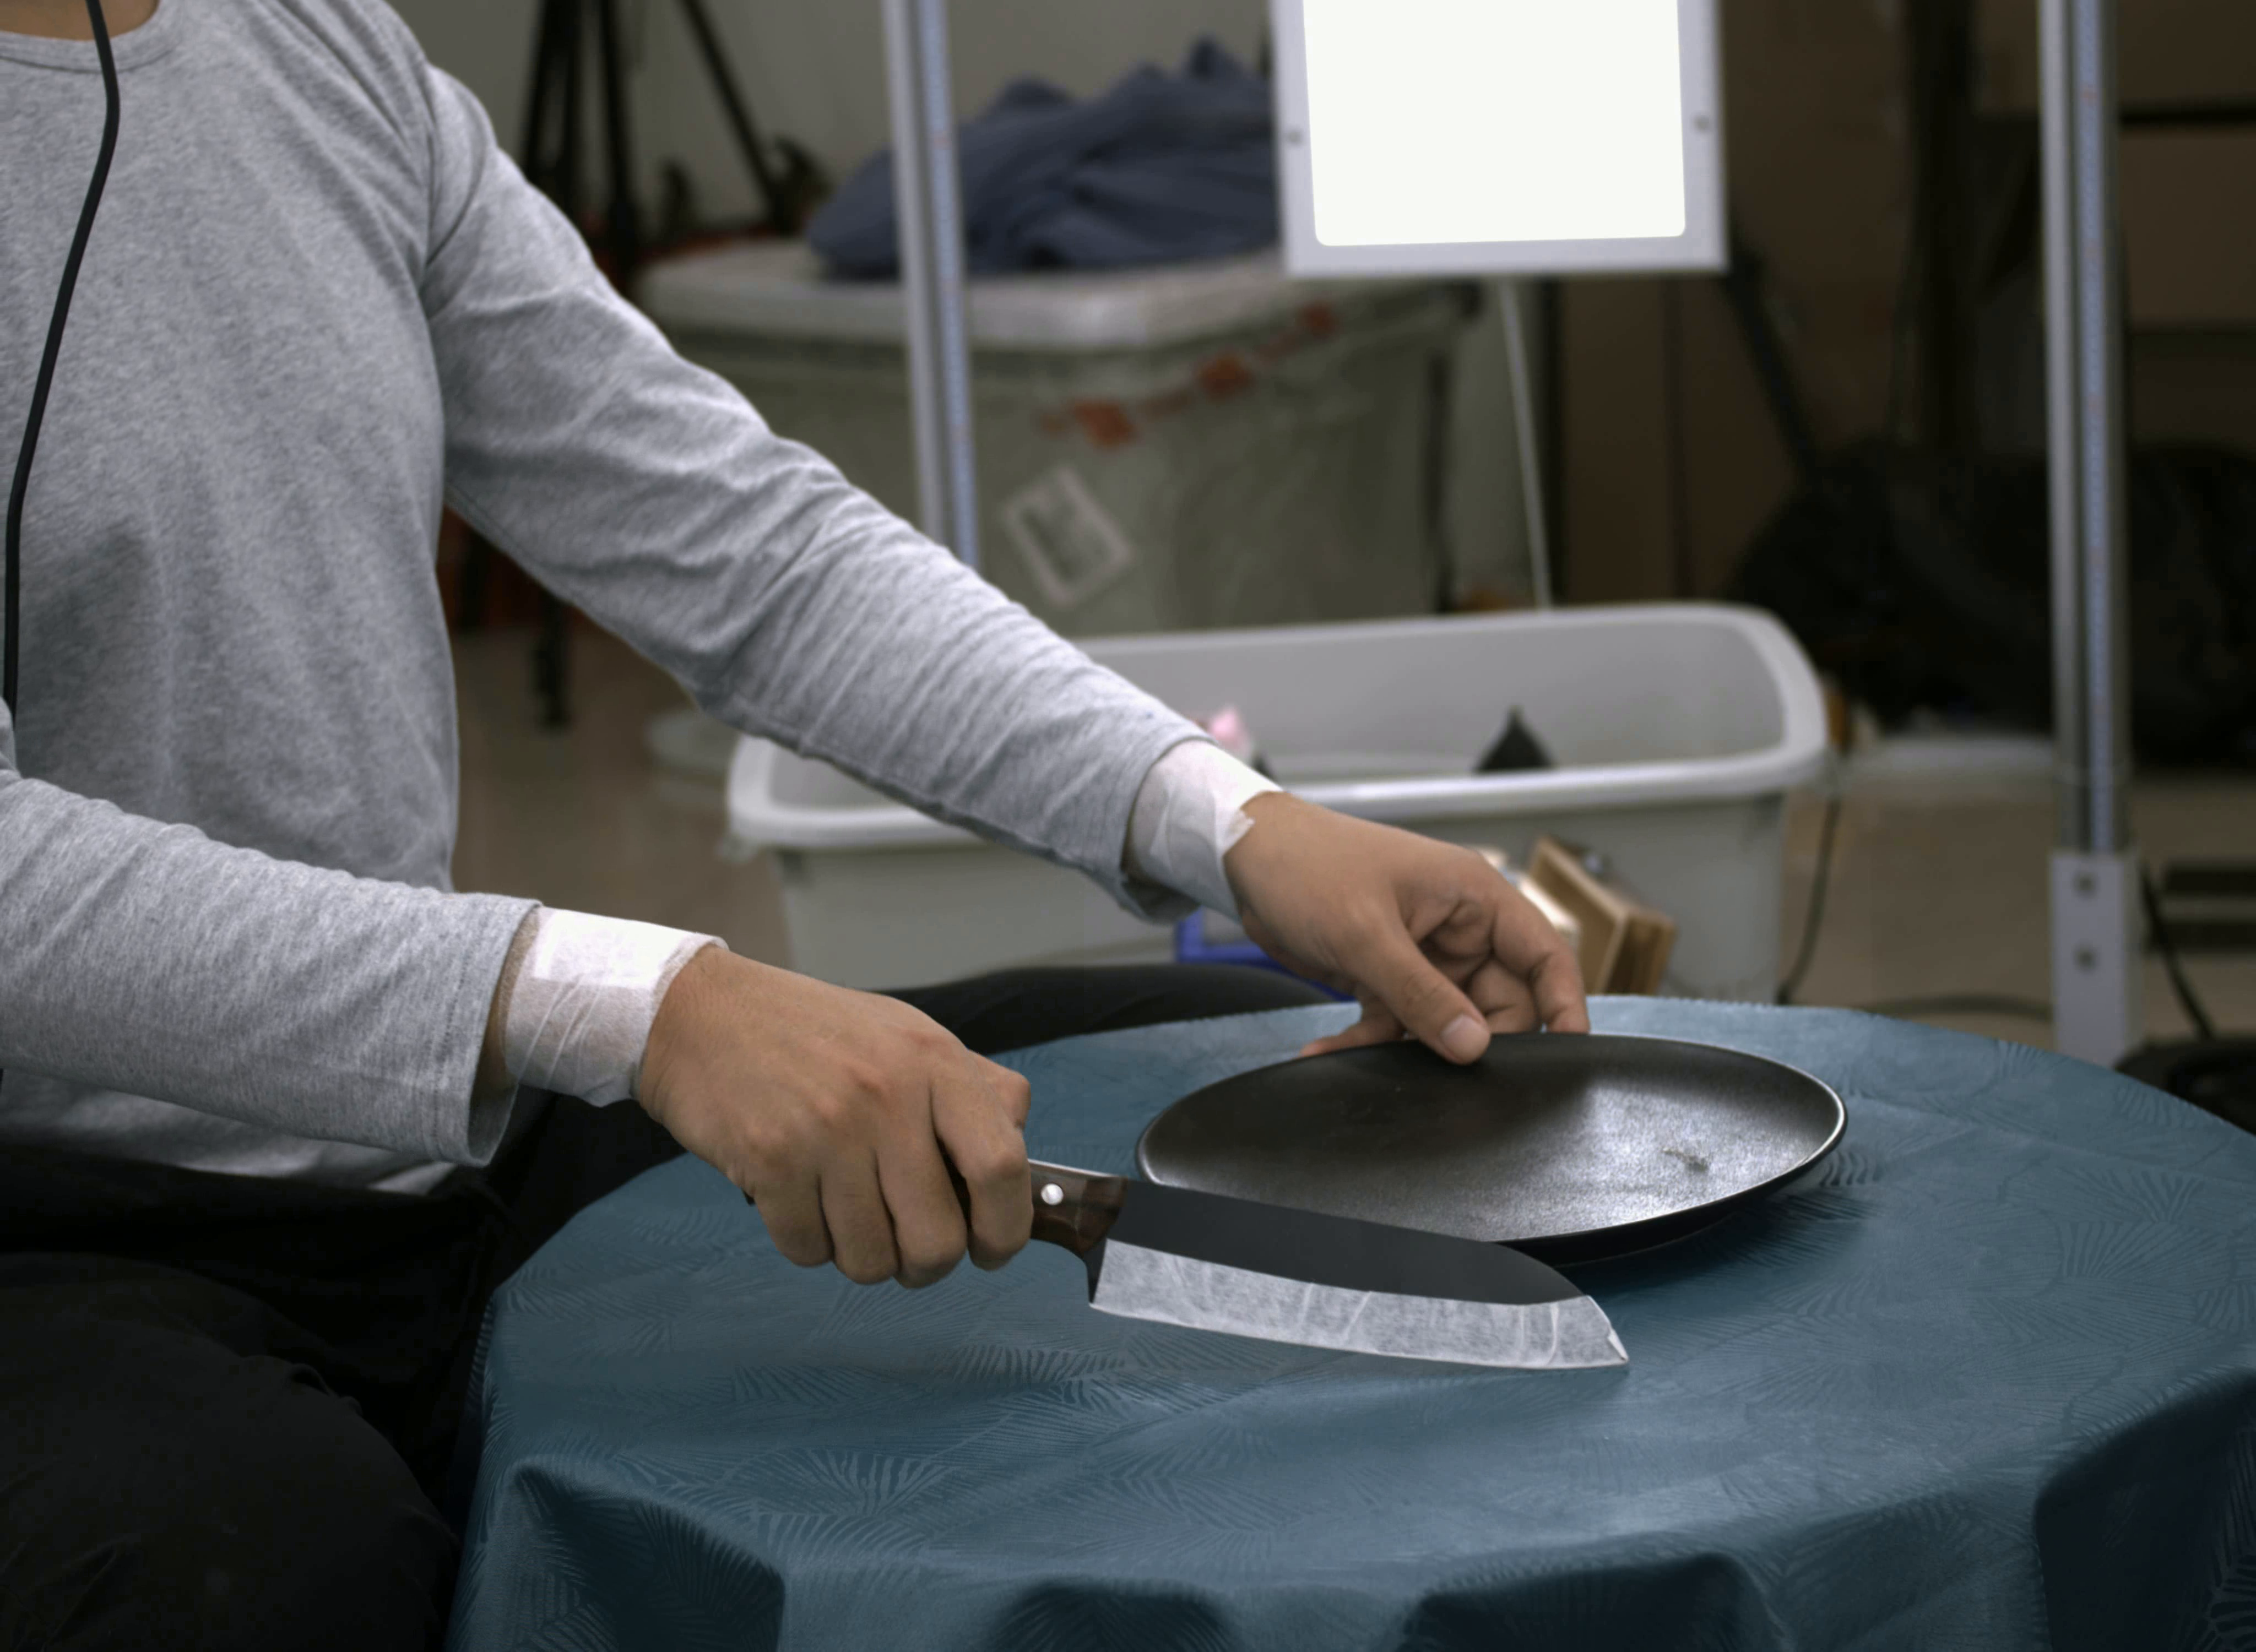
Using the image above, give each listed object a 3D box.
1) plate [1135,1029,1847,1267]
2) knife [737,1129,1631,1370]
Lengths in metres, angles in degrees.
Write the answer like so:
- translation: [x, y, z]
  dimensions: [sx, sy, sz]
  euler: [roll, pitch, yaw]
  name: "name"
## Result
- translation: [0.123, 0.113, 1.867]
  dimensions: [0.244, 0.023, 0.244]
  euler: [-5, 14, 0]
  name: "plate"
- translation: [0.016, 0.132, 1.712]
  dimensions: [0.290, 0.050, 0.020]
  euler: [11, -18, 11]
  name: "knife"
